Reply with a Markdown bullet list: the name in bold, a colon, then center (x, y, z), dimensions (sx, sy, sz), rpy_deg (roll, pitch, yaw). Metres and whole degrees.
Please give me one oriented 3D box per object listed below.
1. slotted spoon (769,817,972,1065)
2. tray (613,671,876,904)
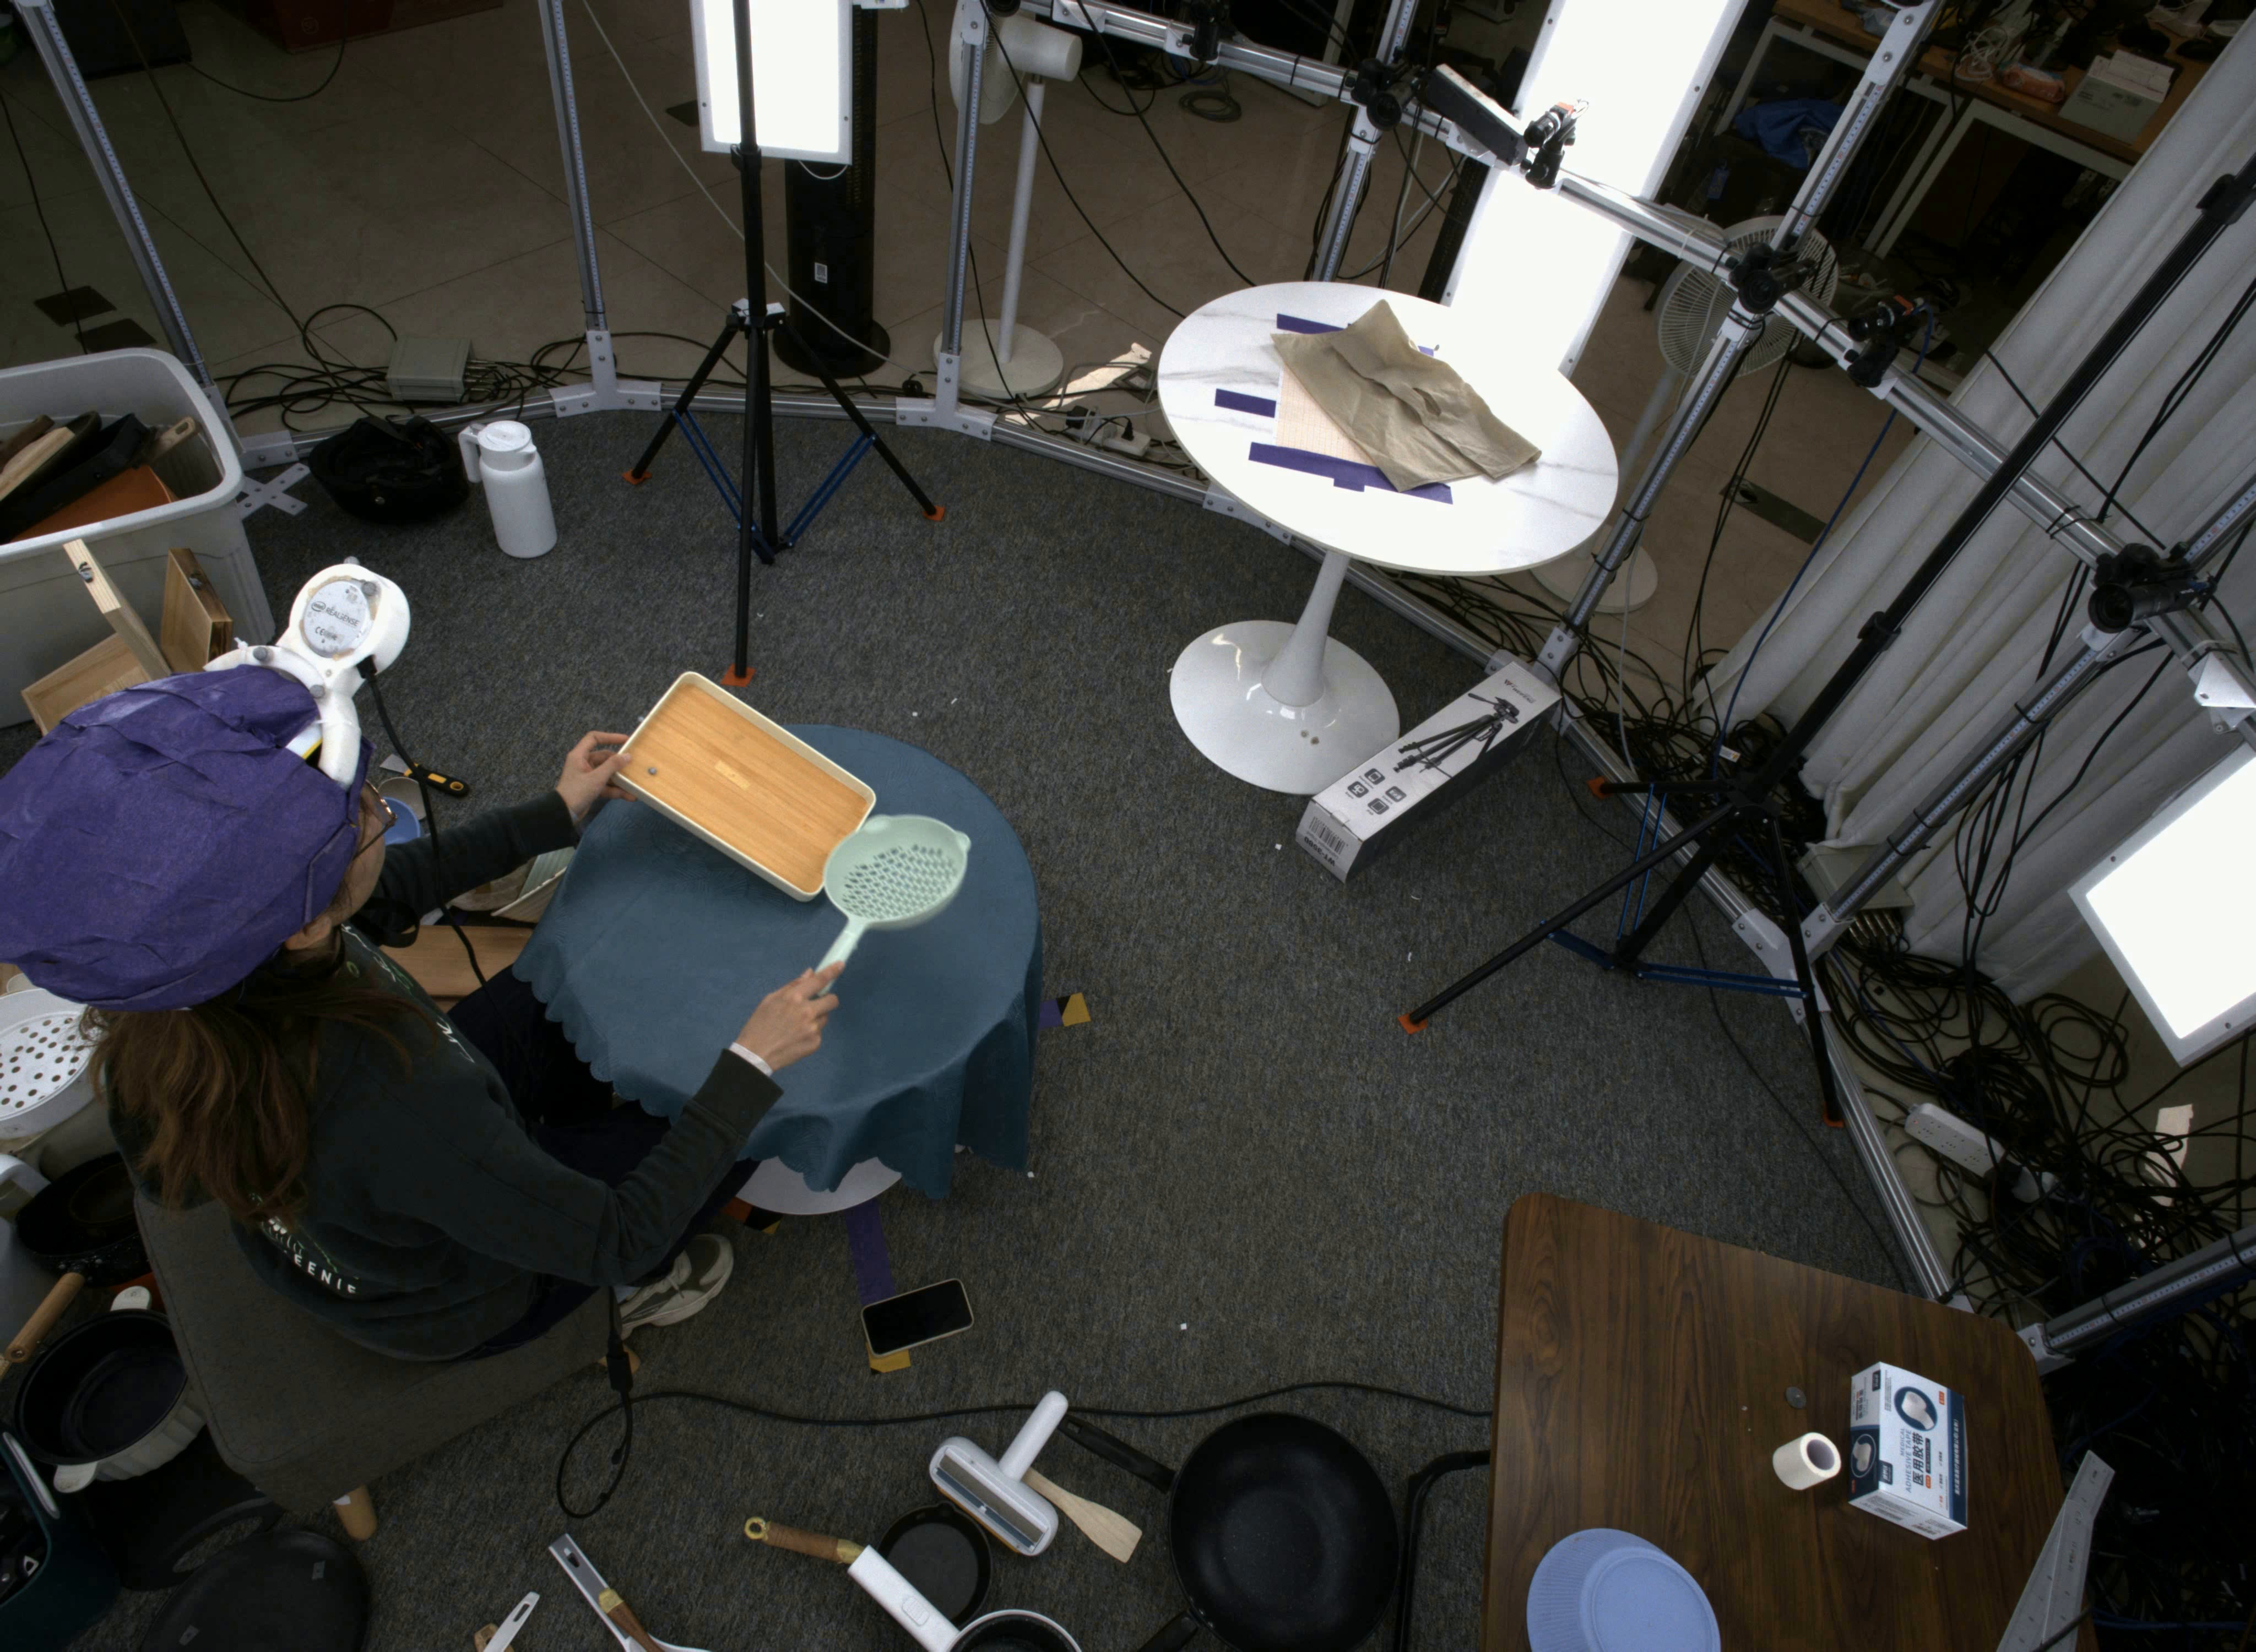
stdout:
- **slotted spoon**: center (-0.306, 0.120, 1.473), dimensions (0.165, 0.078, 0.356), rpy_deg (13, 39, 18)
- **tray**: center (-0.490, -0.051, 1.661), dimensions (0.304, 0.027, 0.190), rpy_deg (35, 52, -14)
